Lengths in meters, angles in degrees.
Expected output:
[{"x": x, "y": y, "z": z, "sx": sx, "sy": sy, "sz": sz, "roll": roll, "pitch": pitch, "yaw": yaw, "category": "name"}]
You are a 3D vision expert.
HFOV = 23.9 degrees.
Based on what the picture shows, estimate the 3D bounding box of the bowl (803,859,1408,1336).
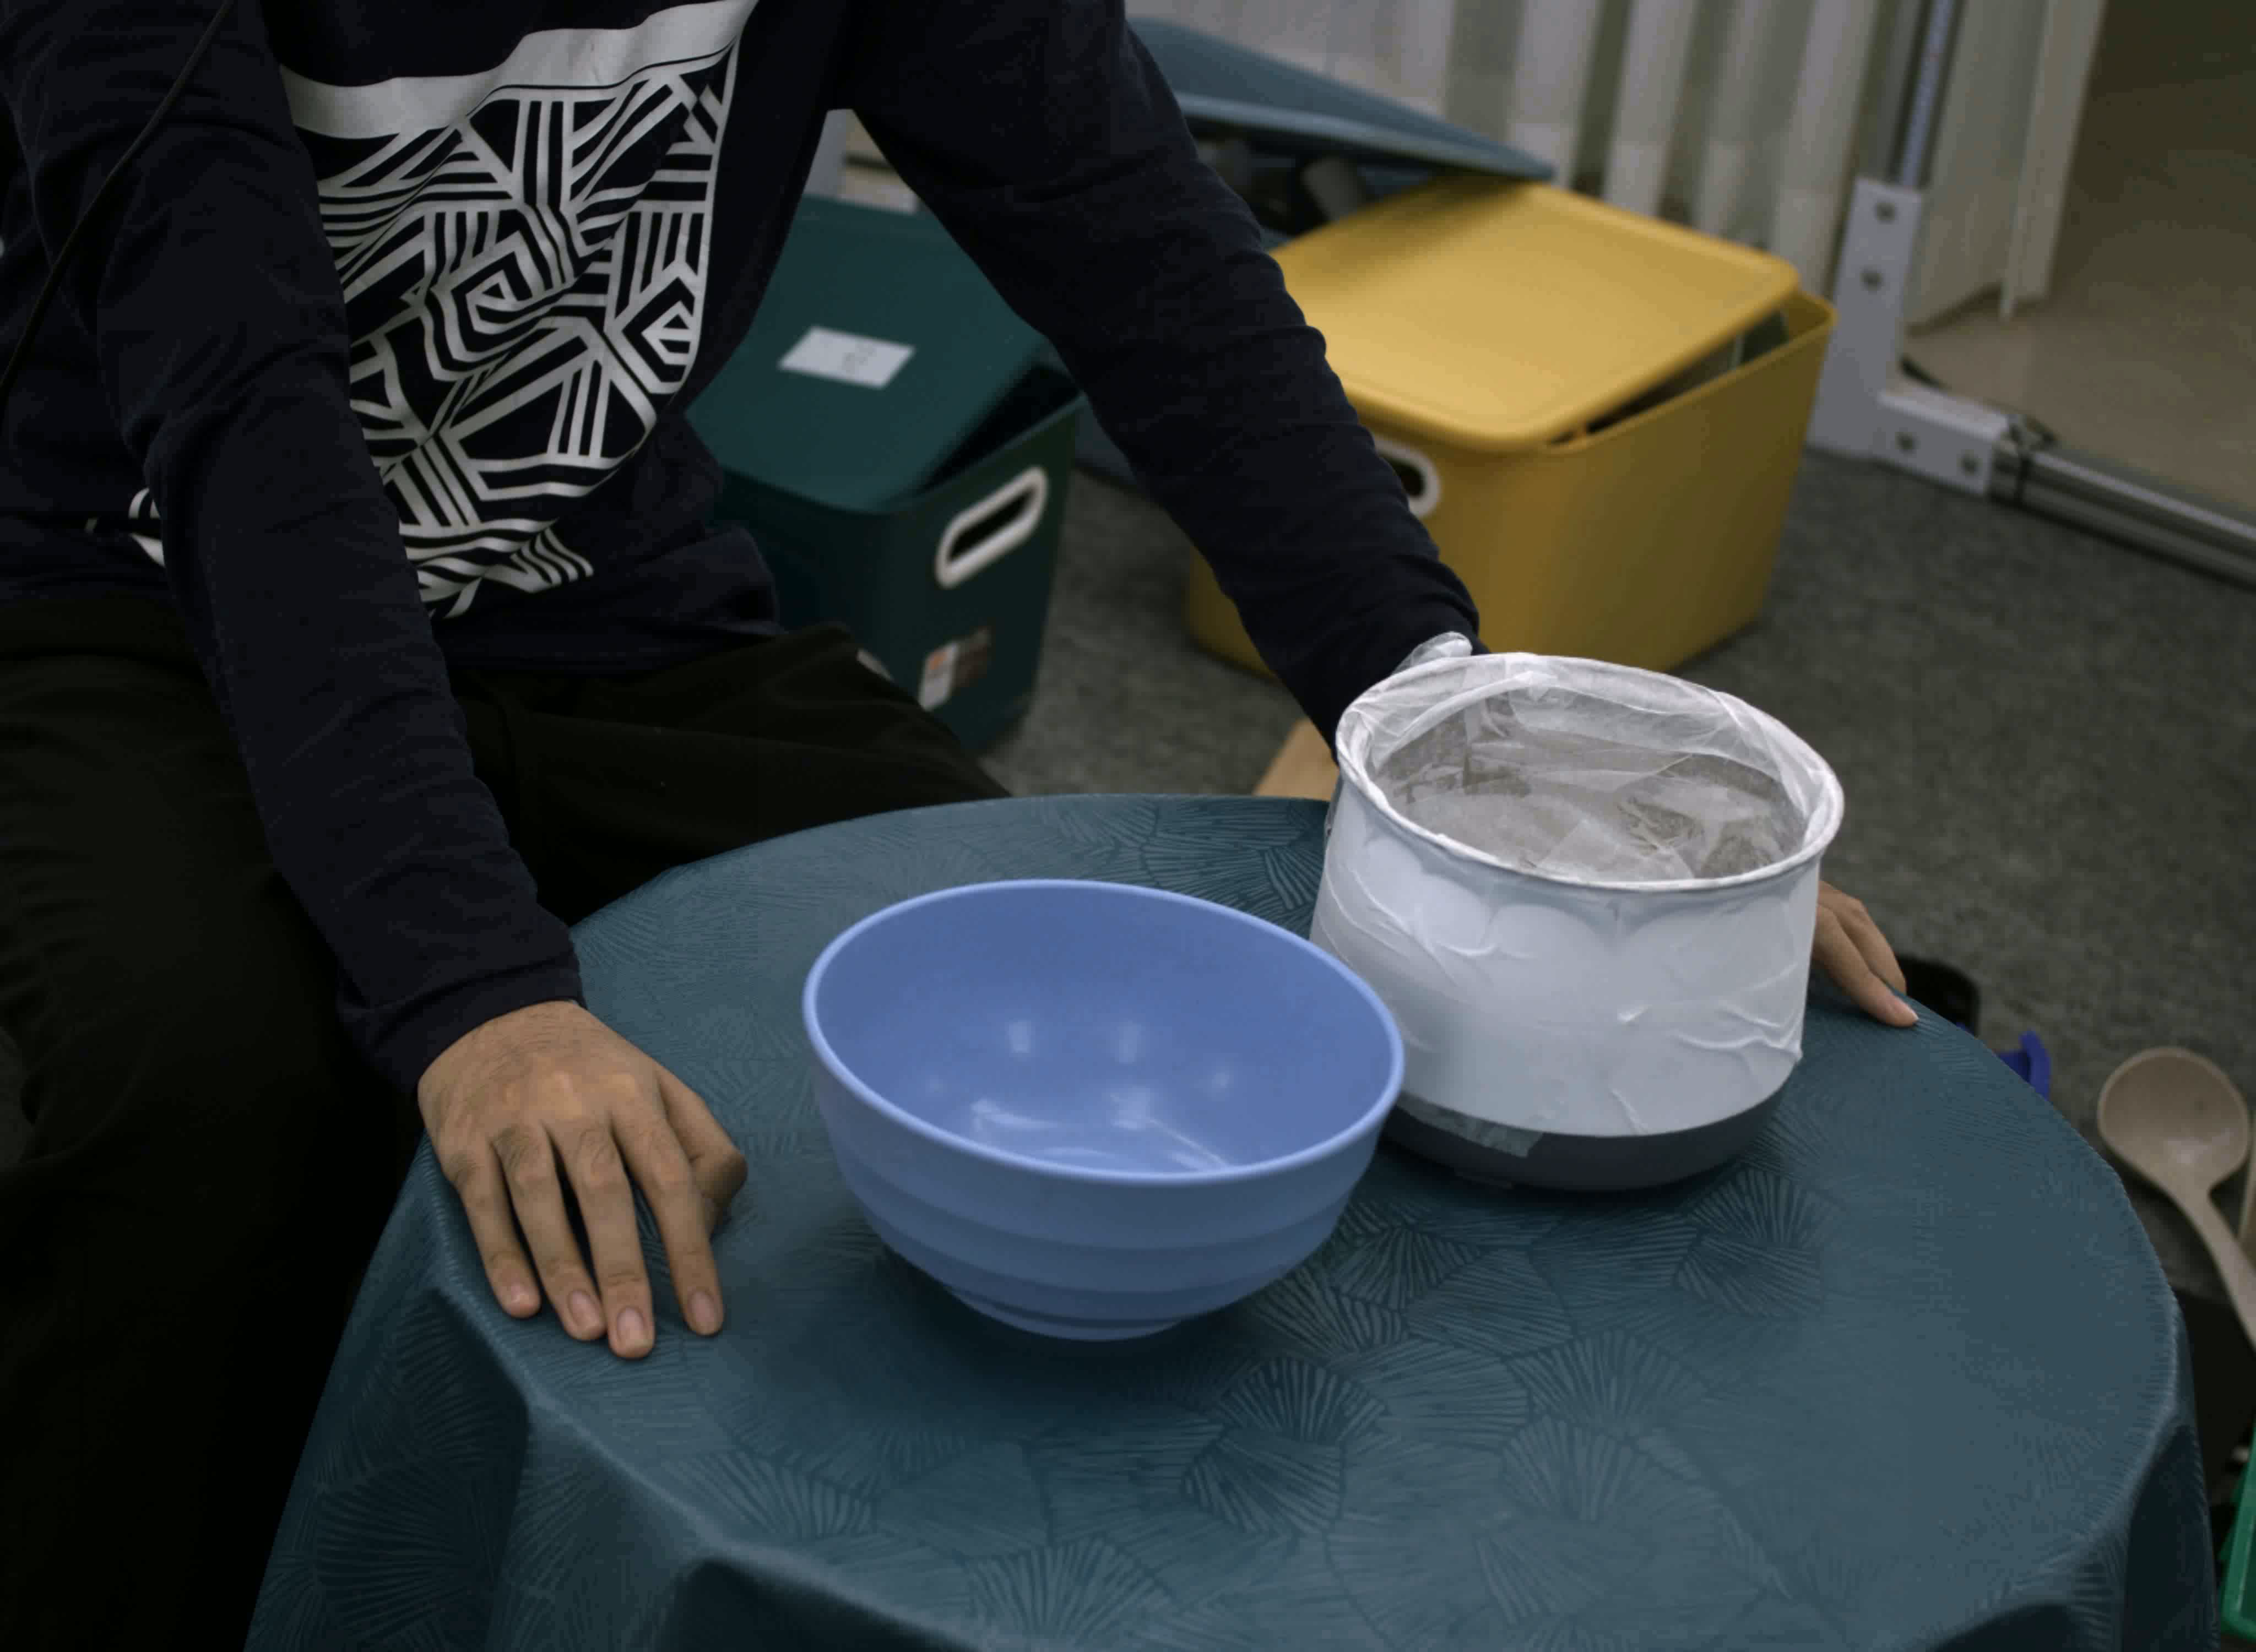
[{"x": -0.012, "y": 0.101, "z": 1.735, "sx": 0.196, "sy": 0.095, "sz": 0.198, "roll": 5, "pitch": 31, "yaw": -3, "category": "bowl"}]

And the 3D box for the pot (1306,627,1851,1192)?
[{"x": 0.140, "y": 0.022, "z": 1.884, "sx": 0.177, "sy": 0.136, "sz": 0.236, "roll": -5, "pitch": 29, "yaw": -28, "category": "pot"}]
